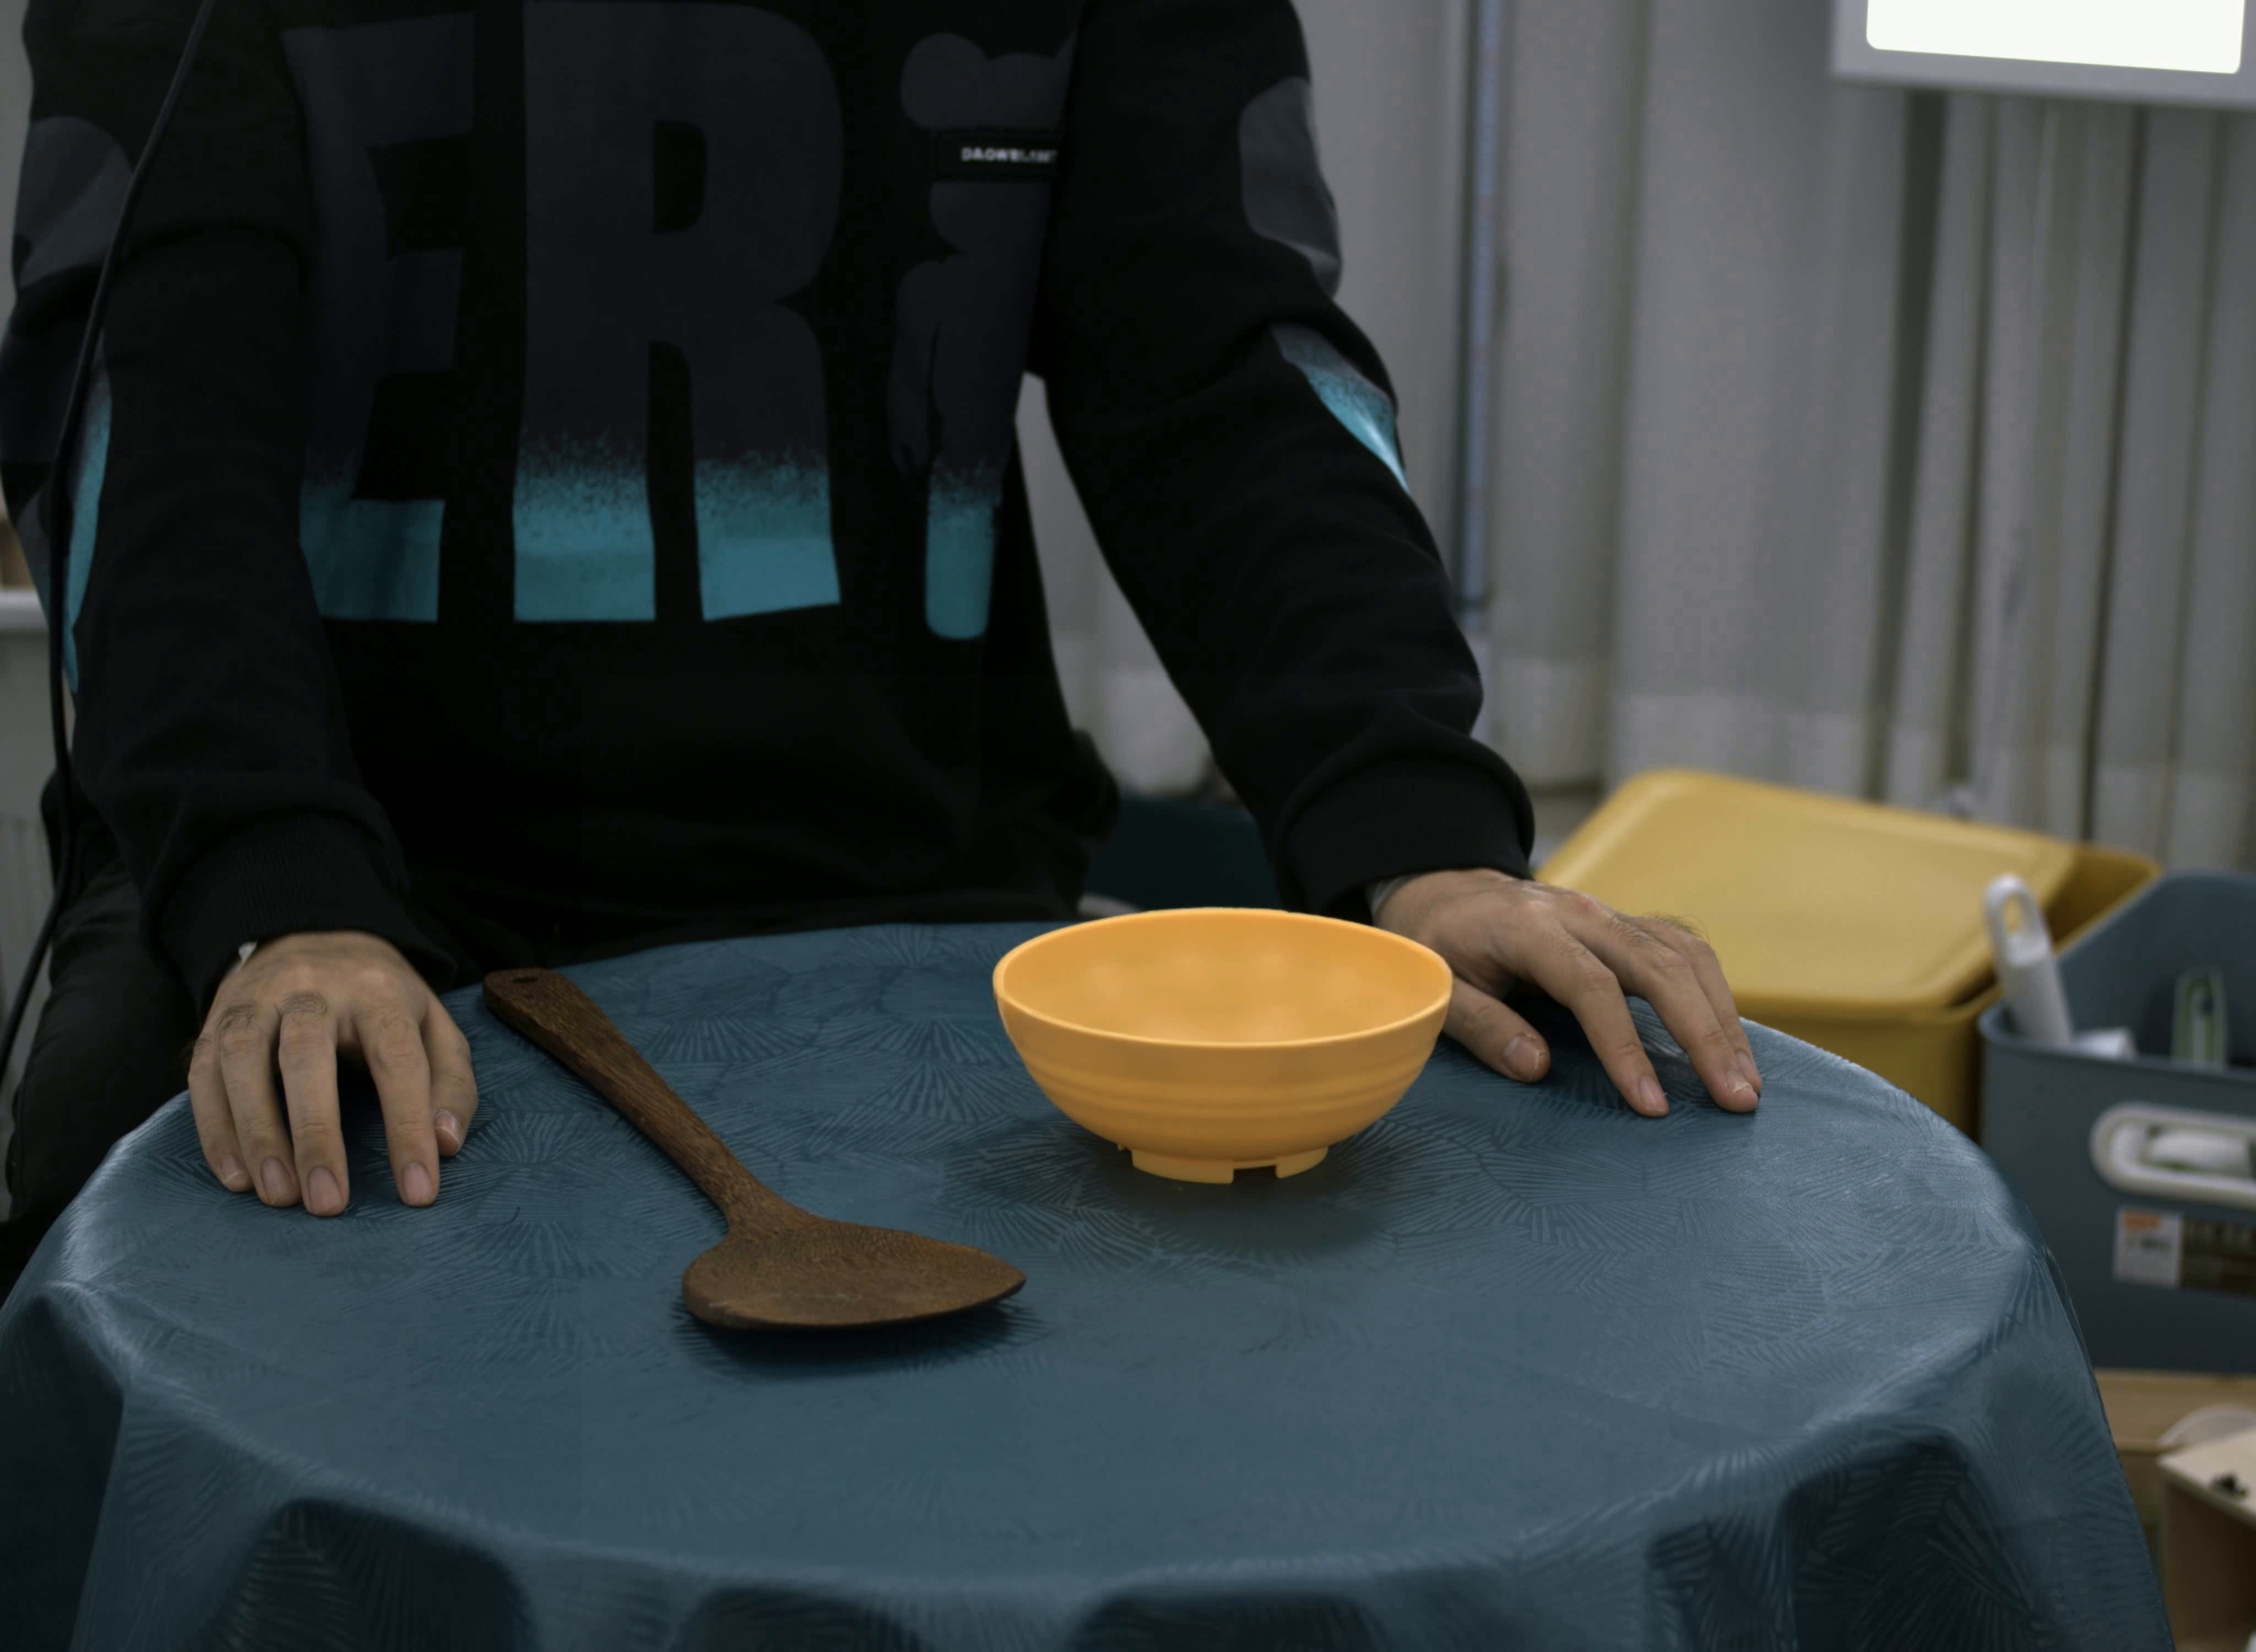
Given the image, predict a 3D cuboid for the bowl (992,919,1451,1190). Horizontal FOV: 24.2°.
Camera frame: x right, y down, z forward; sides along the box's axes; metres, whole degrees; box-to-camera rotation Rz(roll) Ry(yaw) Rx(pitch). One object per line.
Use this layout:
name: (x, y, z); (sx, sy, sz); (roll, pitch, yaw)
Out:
bowl: (0.028, 0.076, 1.655); (0.145, 0.060, 0.144); (2, 14, 0)

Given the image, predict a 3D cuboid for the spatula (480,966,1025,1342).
spatula: (-0.140, 0.096, 1.652); (0.096, 0.016, 0.381); (-5, 17, -23)
